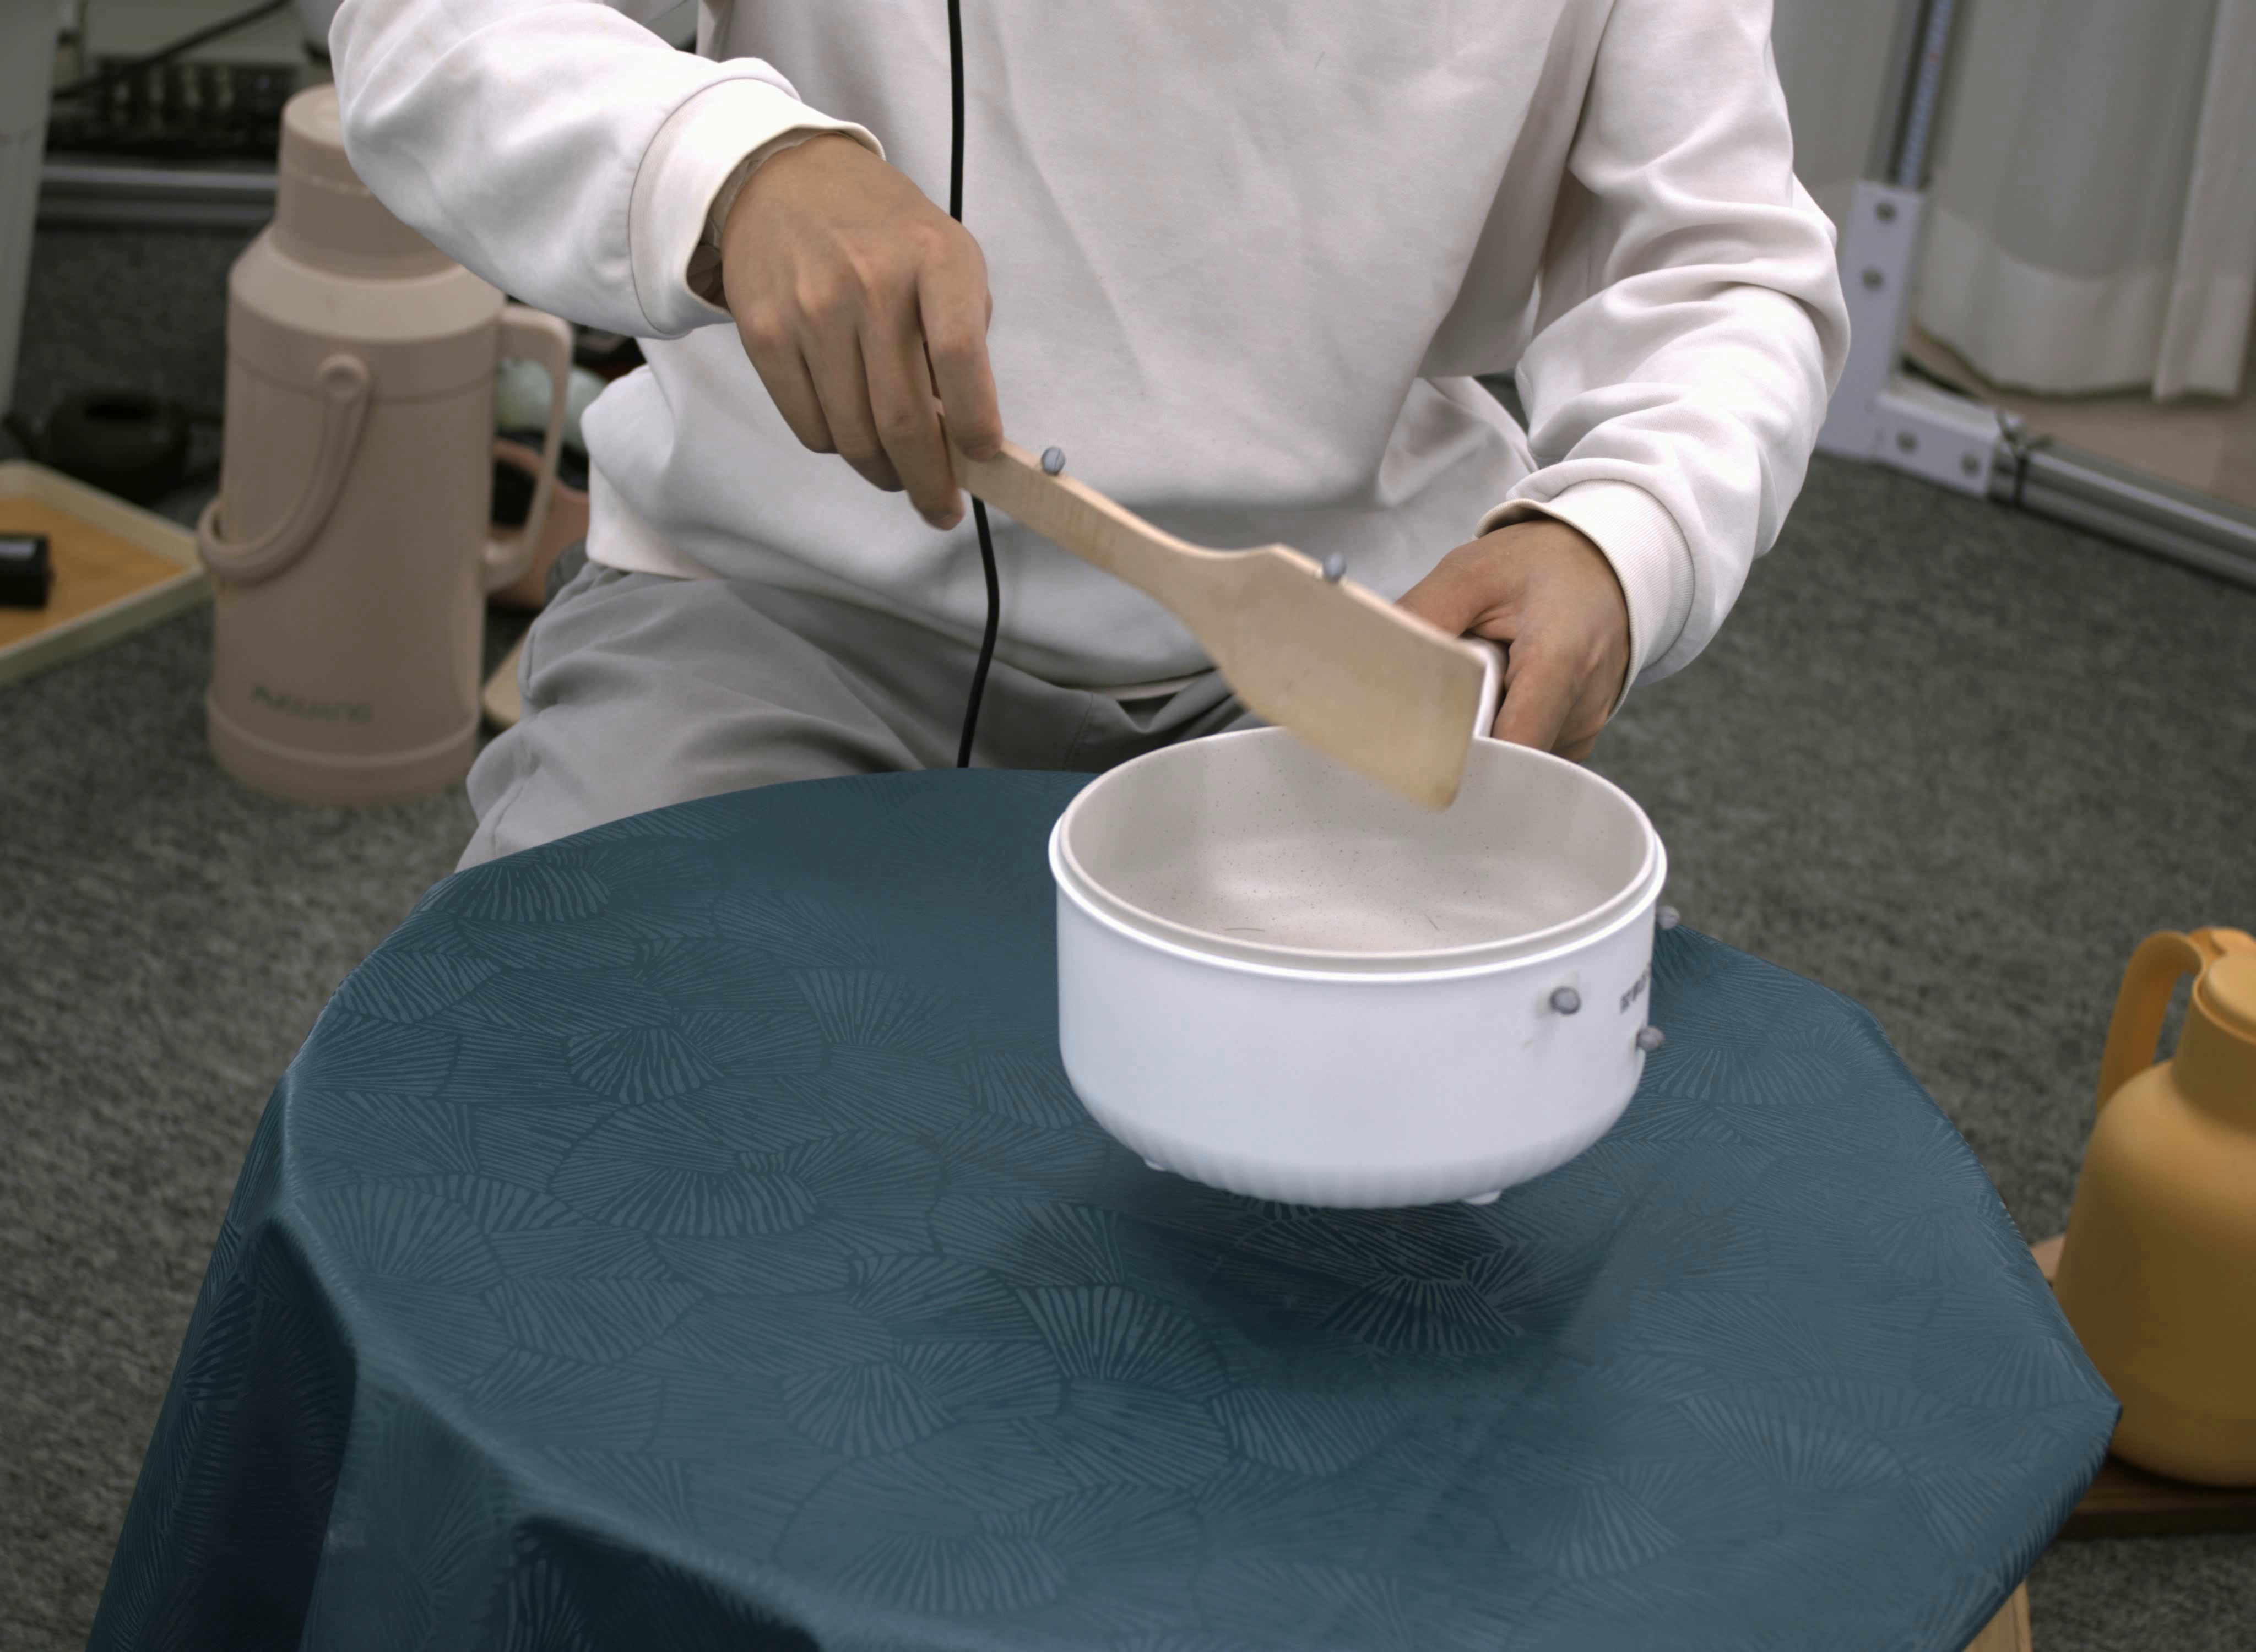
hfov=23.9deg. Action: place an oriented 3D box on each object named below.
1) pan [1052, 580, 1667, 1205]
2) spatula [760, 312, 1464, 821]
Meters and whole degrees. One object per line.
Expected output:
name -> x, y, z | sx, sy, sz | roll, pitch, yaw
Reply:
pan -> 0.091, 0.019, 1.820 | 0.201, 0.102, 0.355 | 5, 23, 12
spatula -> -0.012, -0.098, 1.800 | 0.294, 0.072, 0.010 | 33, 46, 21
